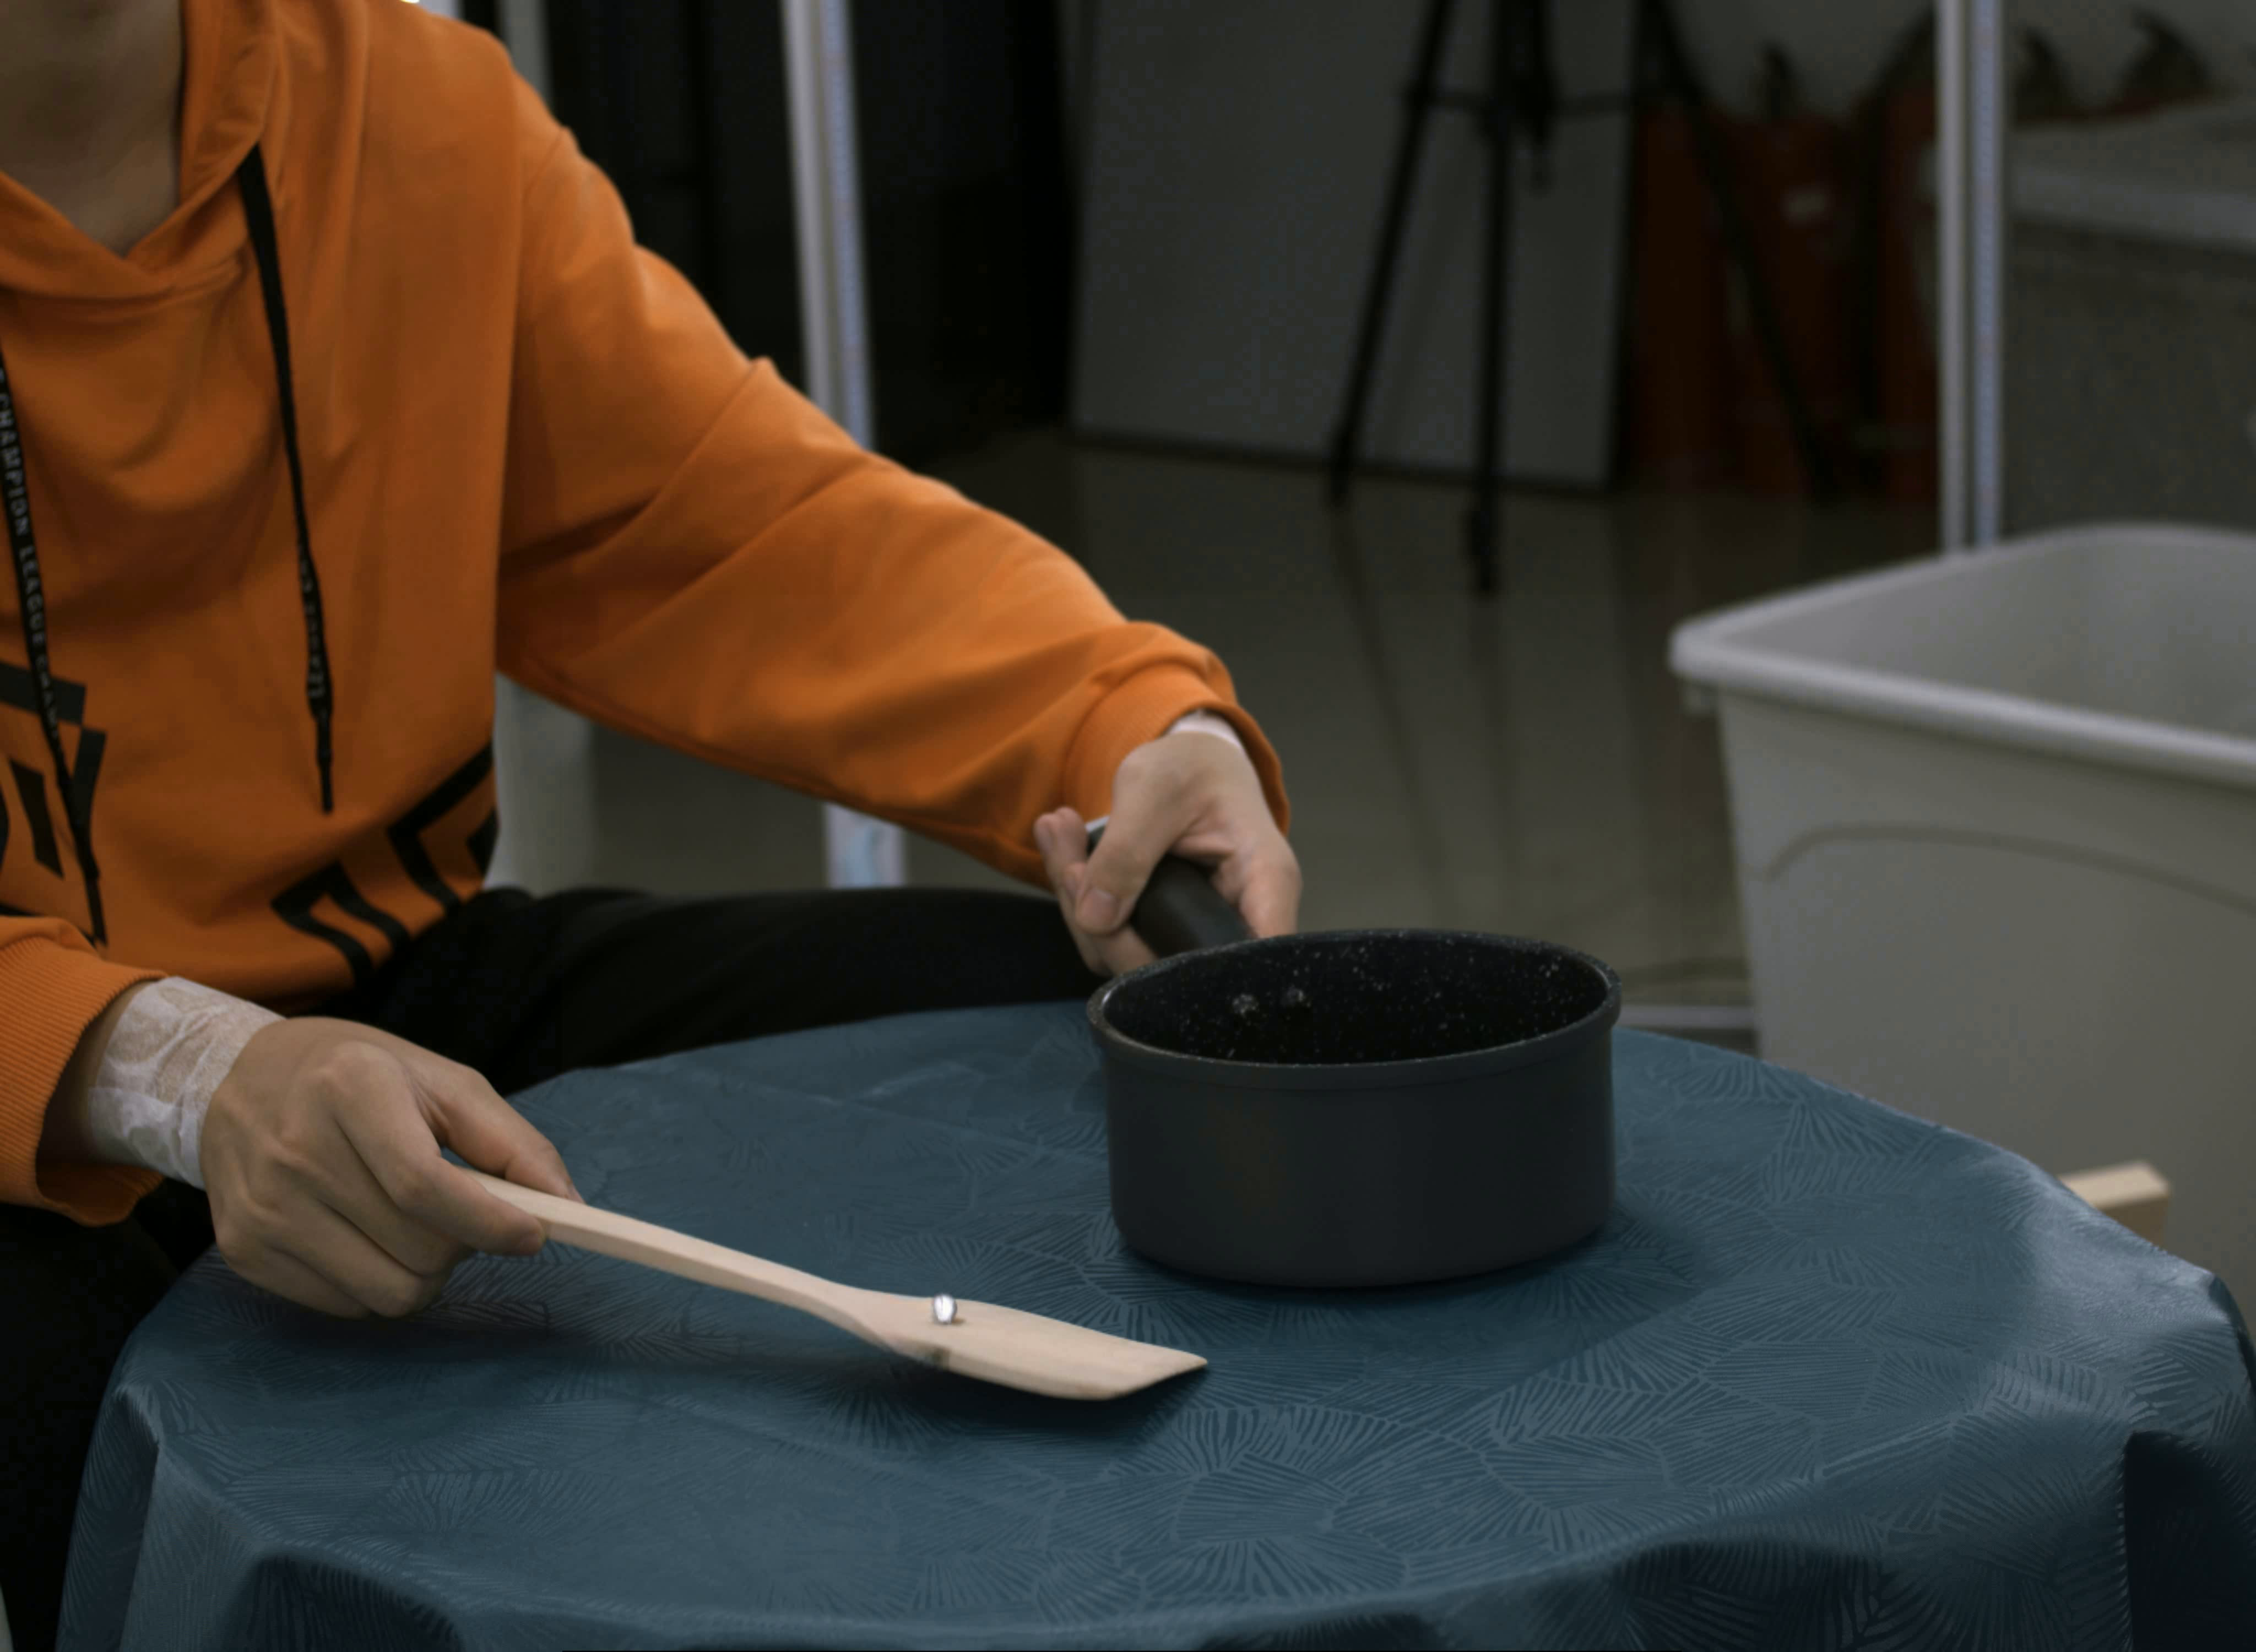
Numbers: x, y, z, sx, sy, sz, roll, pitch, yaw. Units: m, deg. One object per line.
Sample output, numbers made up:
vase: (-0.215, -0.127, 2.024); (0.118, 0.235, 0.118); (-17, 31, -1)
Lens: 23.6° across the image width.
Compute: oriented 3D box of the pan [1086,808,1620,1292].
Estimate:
pan: (0.051, 0.070, 1.787); (0.168, 0.087, 0.331); (-6, 14, -15)

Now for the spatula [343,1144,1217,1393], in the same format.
spatula: (-0.114, 0.133, 1.634); (0.294, 0.011, 0.071); (13, 7, 26)
